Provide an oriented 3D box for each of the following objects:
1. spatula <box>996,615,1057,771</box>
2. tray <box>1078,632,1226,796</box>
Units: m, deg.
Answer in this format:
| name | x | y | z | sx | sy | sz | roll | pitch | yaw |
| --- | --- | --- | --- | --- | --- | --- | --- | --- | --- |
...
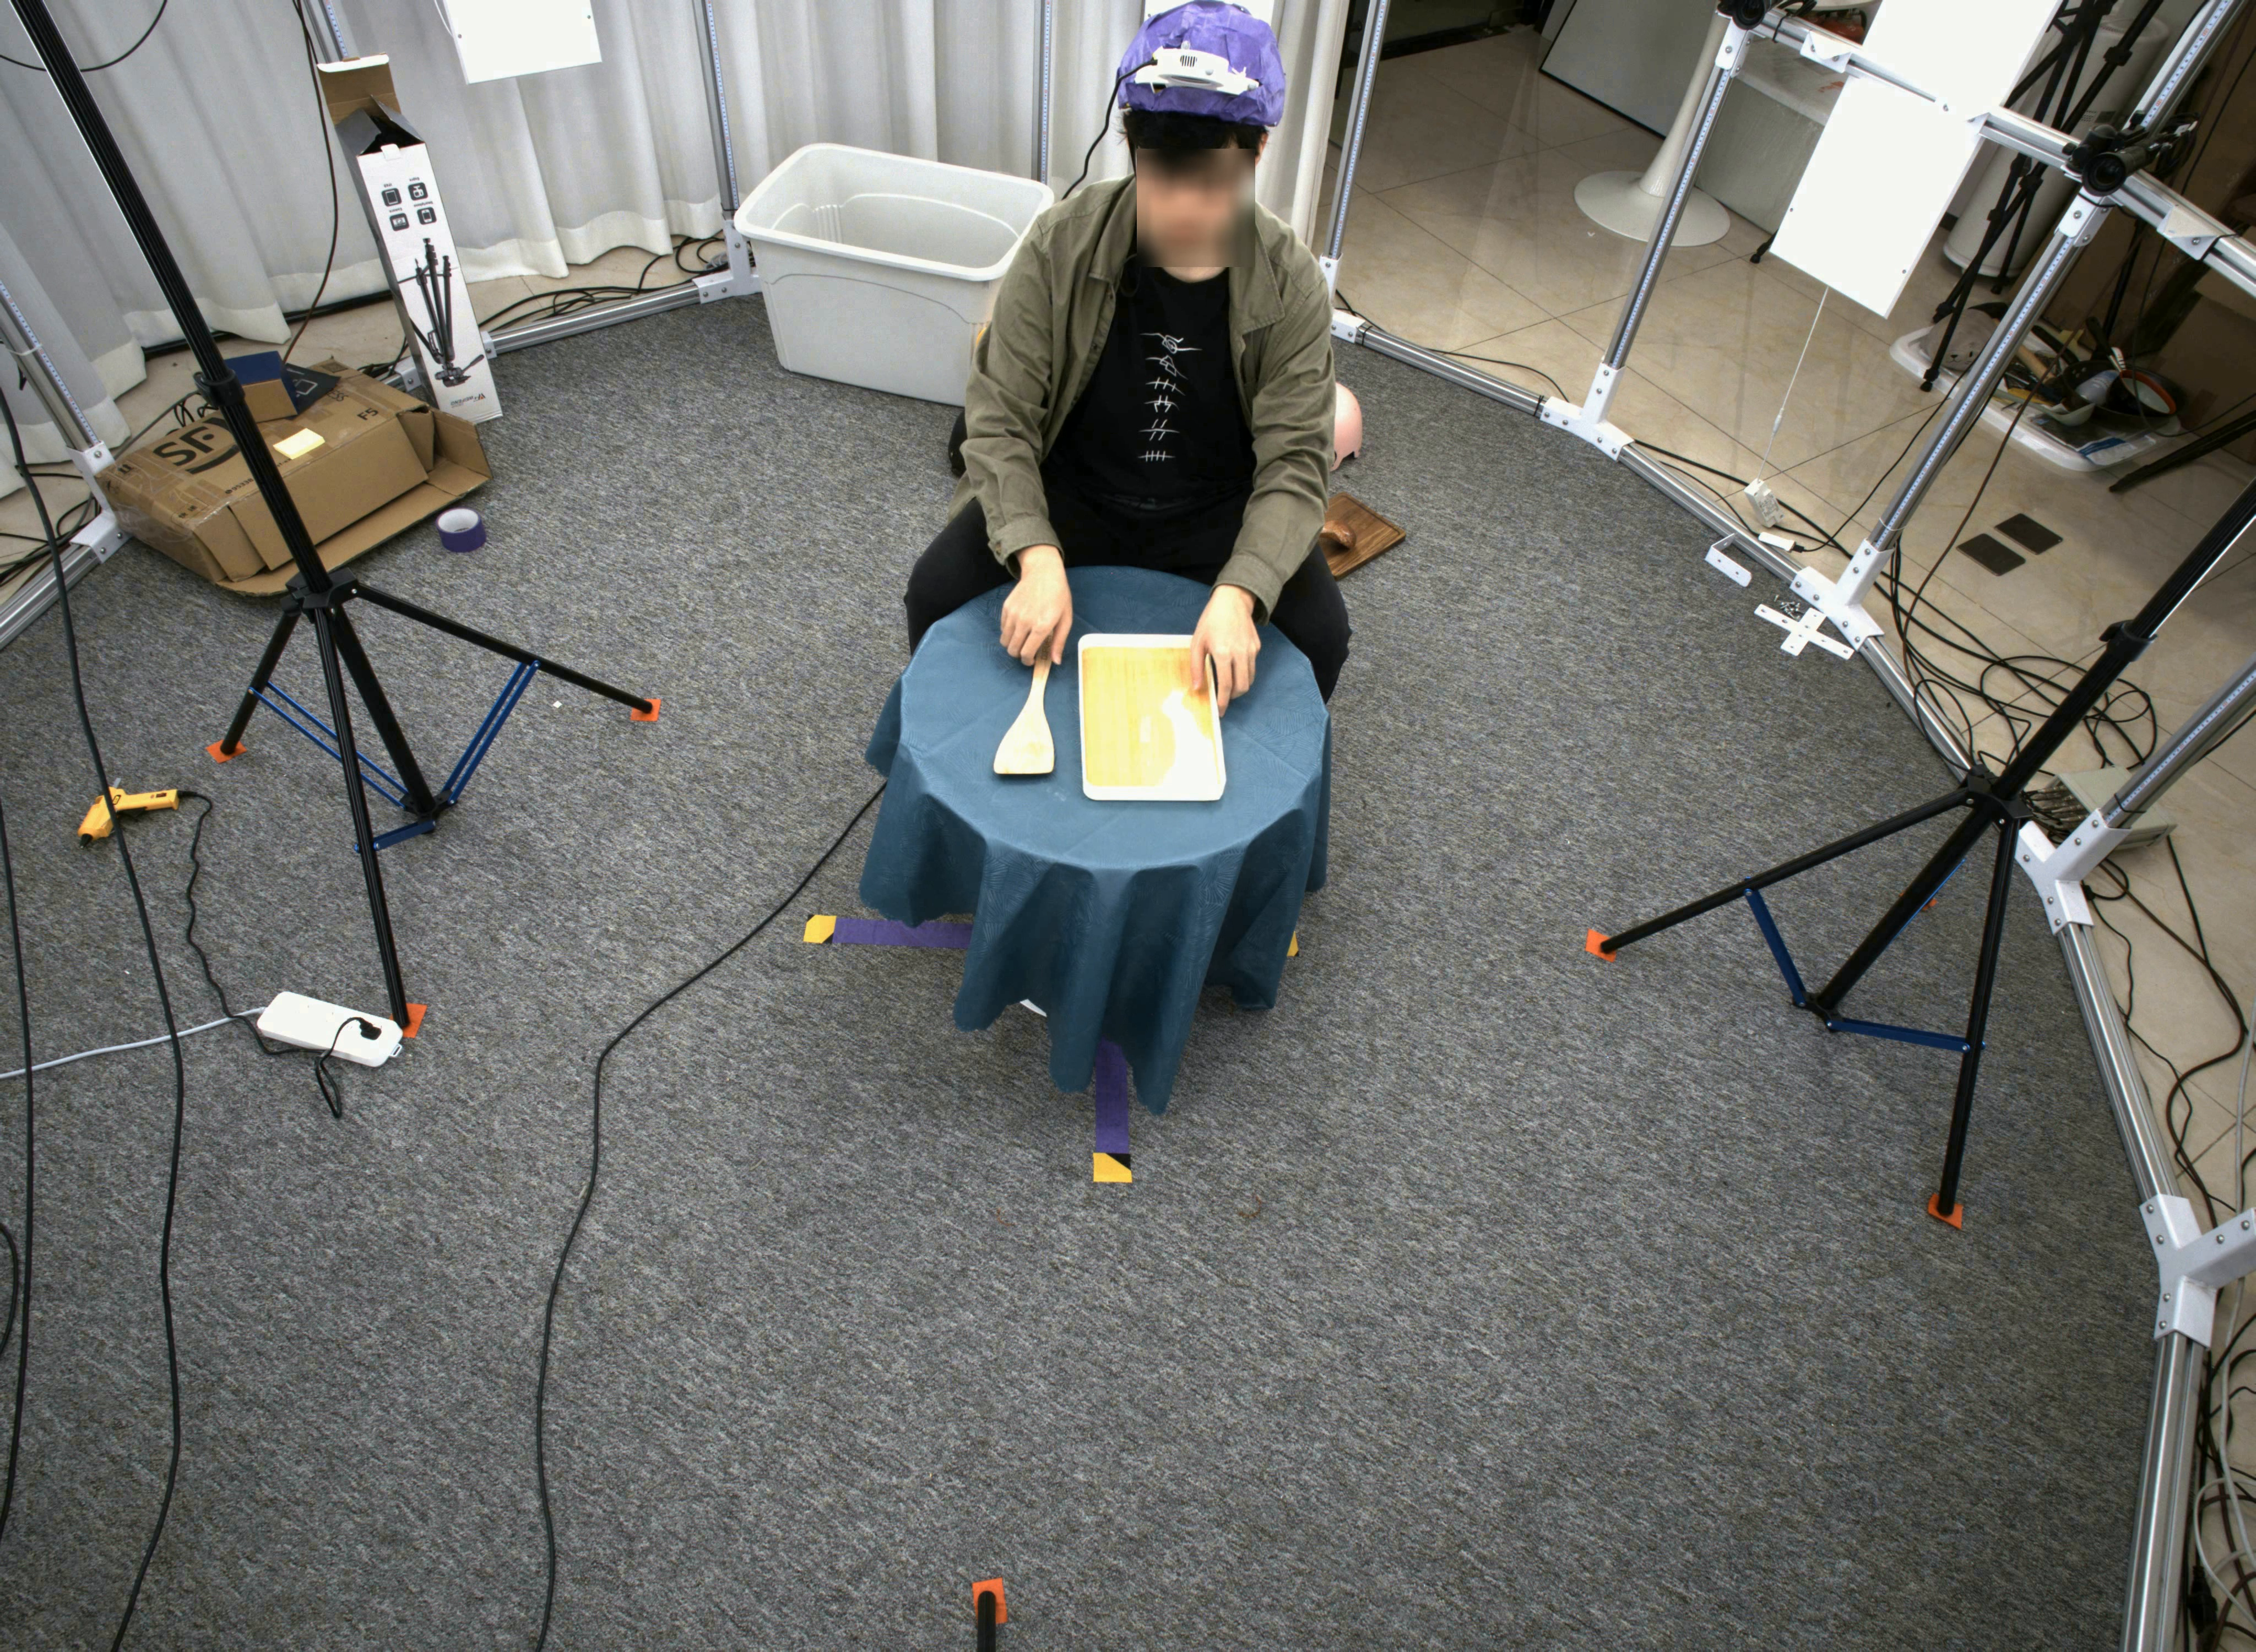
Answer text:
| name | x | y | z | sx | sy | sz | roll | pitch | yaw |
| --- | --- | --- | --- | --- | --- | --- | --- | --- | --- |
| spatula | -0.127 | -0.191 | 1.804 | 0.080 | 0.016 | 0.335 | 5 | 49 | -1 |
| tray | 0.028 | -0.161 | 1.783 | 0.191 | 0.027 | 0.308 | 0 | 48 | -4 |
